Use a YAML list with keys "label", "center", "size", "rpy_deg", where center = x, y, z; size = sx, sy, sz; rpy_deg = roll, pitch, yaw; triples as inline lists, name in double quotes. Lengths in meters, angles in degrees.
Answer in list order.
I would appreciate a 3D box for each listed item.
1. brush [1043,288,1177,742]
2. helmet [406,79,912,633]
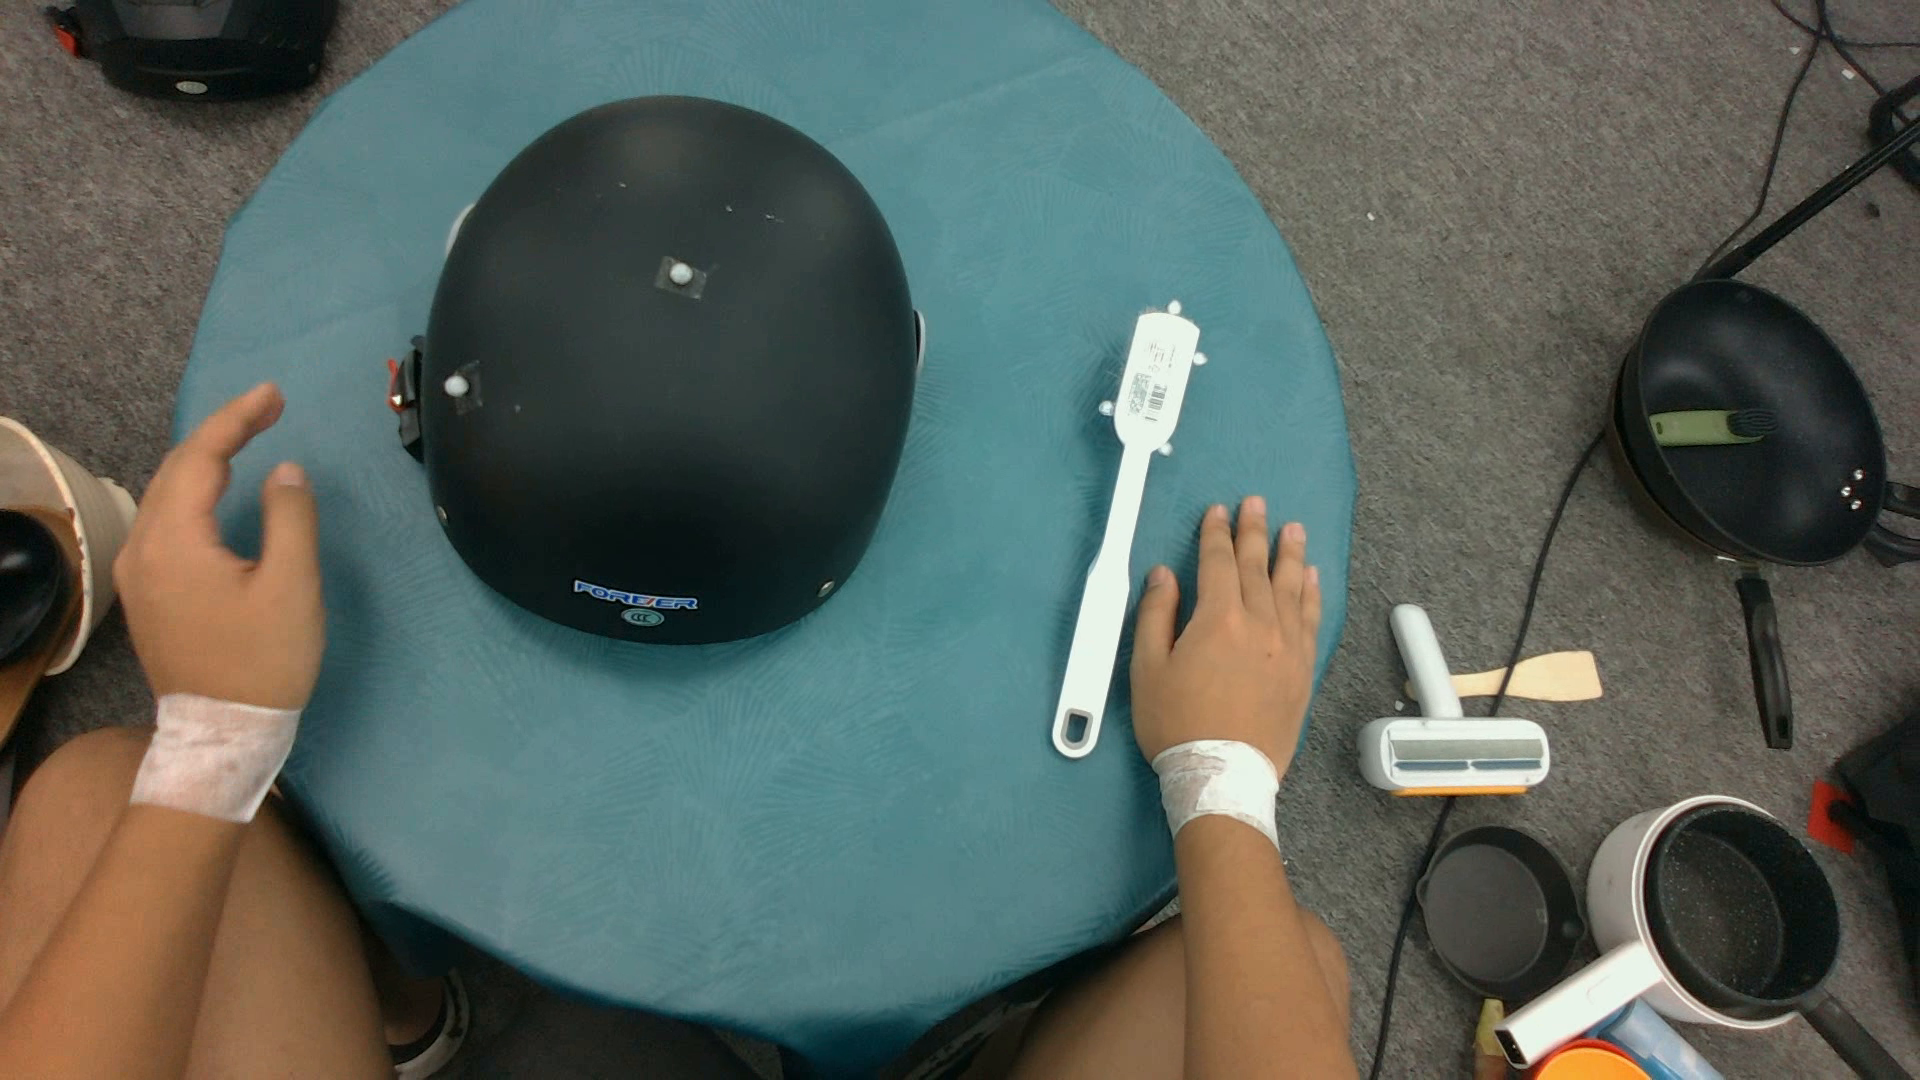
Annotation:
- label: "brush"
  center: [0.075, -0.016, 0.716]
  size: [0.034, 0.050, 0.244]
  rpy_deg: [11, 83, 0]
- label: "helmet"
  center: [-0.131, -0.101, 0.625]
  size: [0.230, 0.166, 0.274]
  rpy_deg: [14, 68, -11]
